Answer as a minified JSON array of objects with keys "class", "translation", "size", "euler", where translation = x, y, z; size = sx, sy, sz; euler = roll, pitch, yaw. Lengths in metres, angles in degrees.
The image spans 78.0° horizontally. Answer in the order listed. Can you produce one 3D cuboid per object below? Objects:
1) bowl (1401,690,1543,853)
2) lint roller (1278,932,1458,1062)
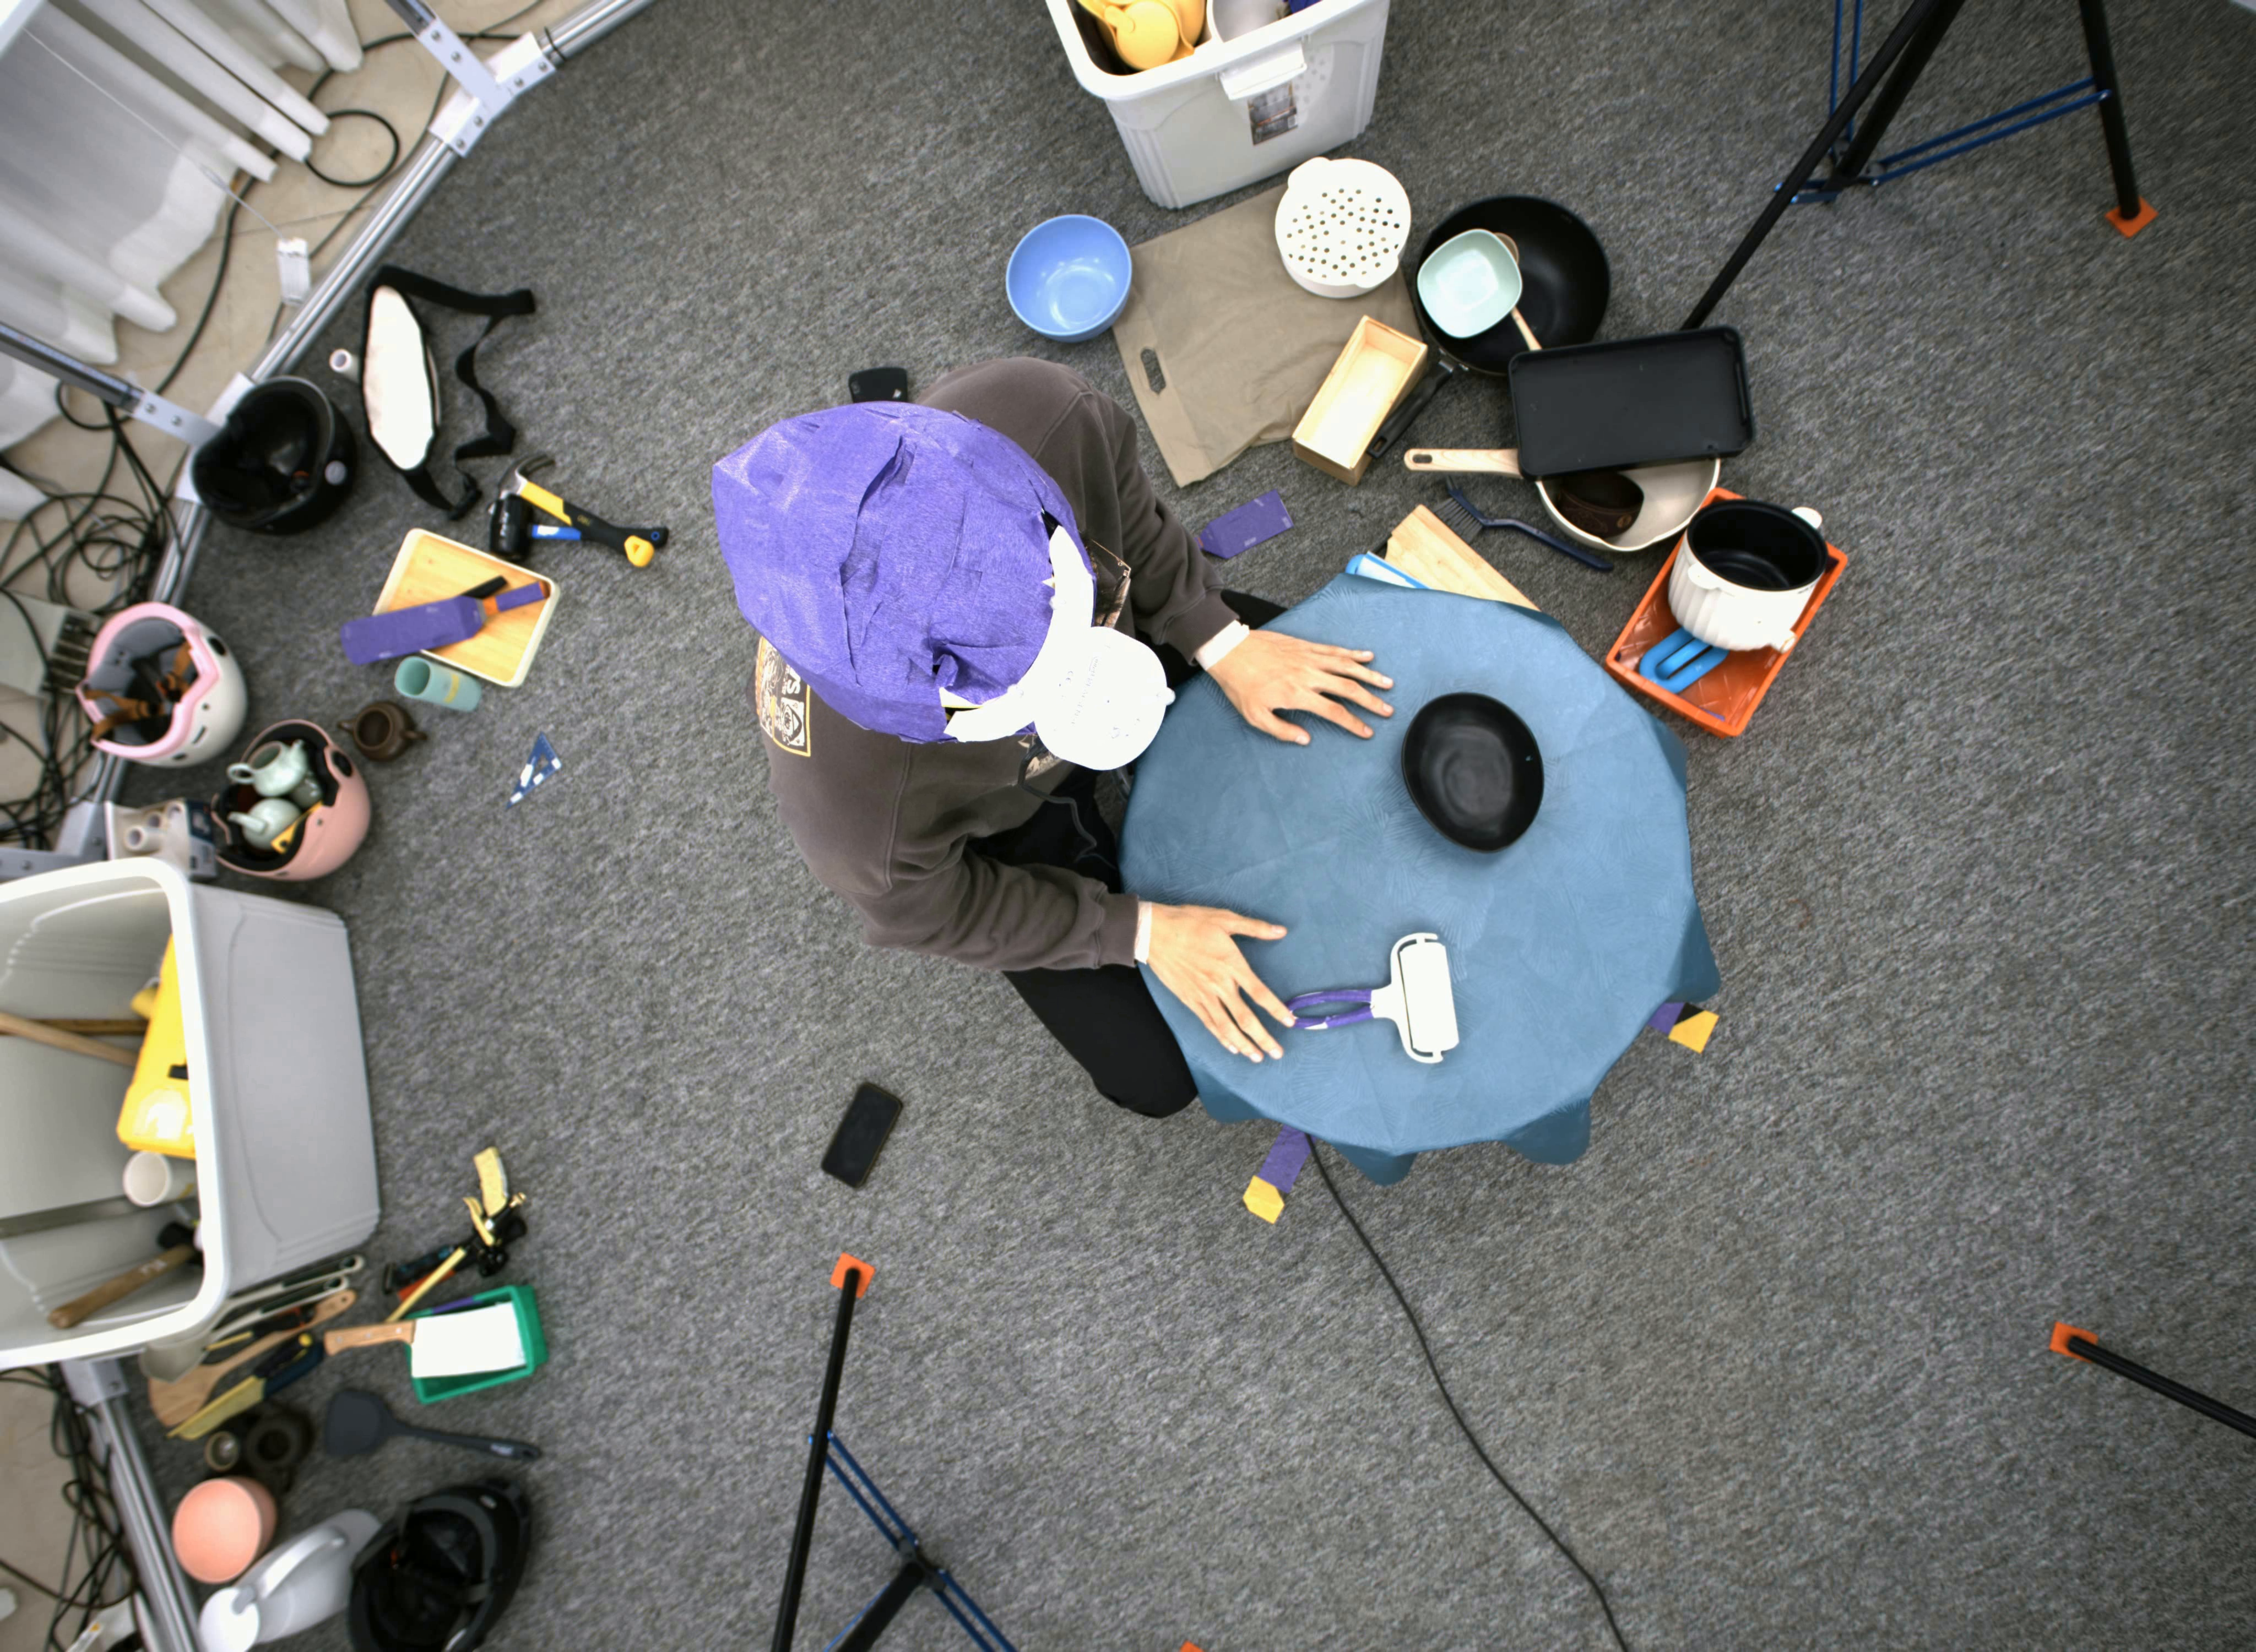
[{"class":"bowl","translation":[0.354,-0.057,1.416],"size":[0.138,0.066,0.169],"euler":[-23,85,9]},{"class":"lint roller","translation":[0.245,0.181,1.433],"size":[0.181,0.050,0.132],"euler":[-6,86,8]}]
